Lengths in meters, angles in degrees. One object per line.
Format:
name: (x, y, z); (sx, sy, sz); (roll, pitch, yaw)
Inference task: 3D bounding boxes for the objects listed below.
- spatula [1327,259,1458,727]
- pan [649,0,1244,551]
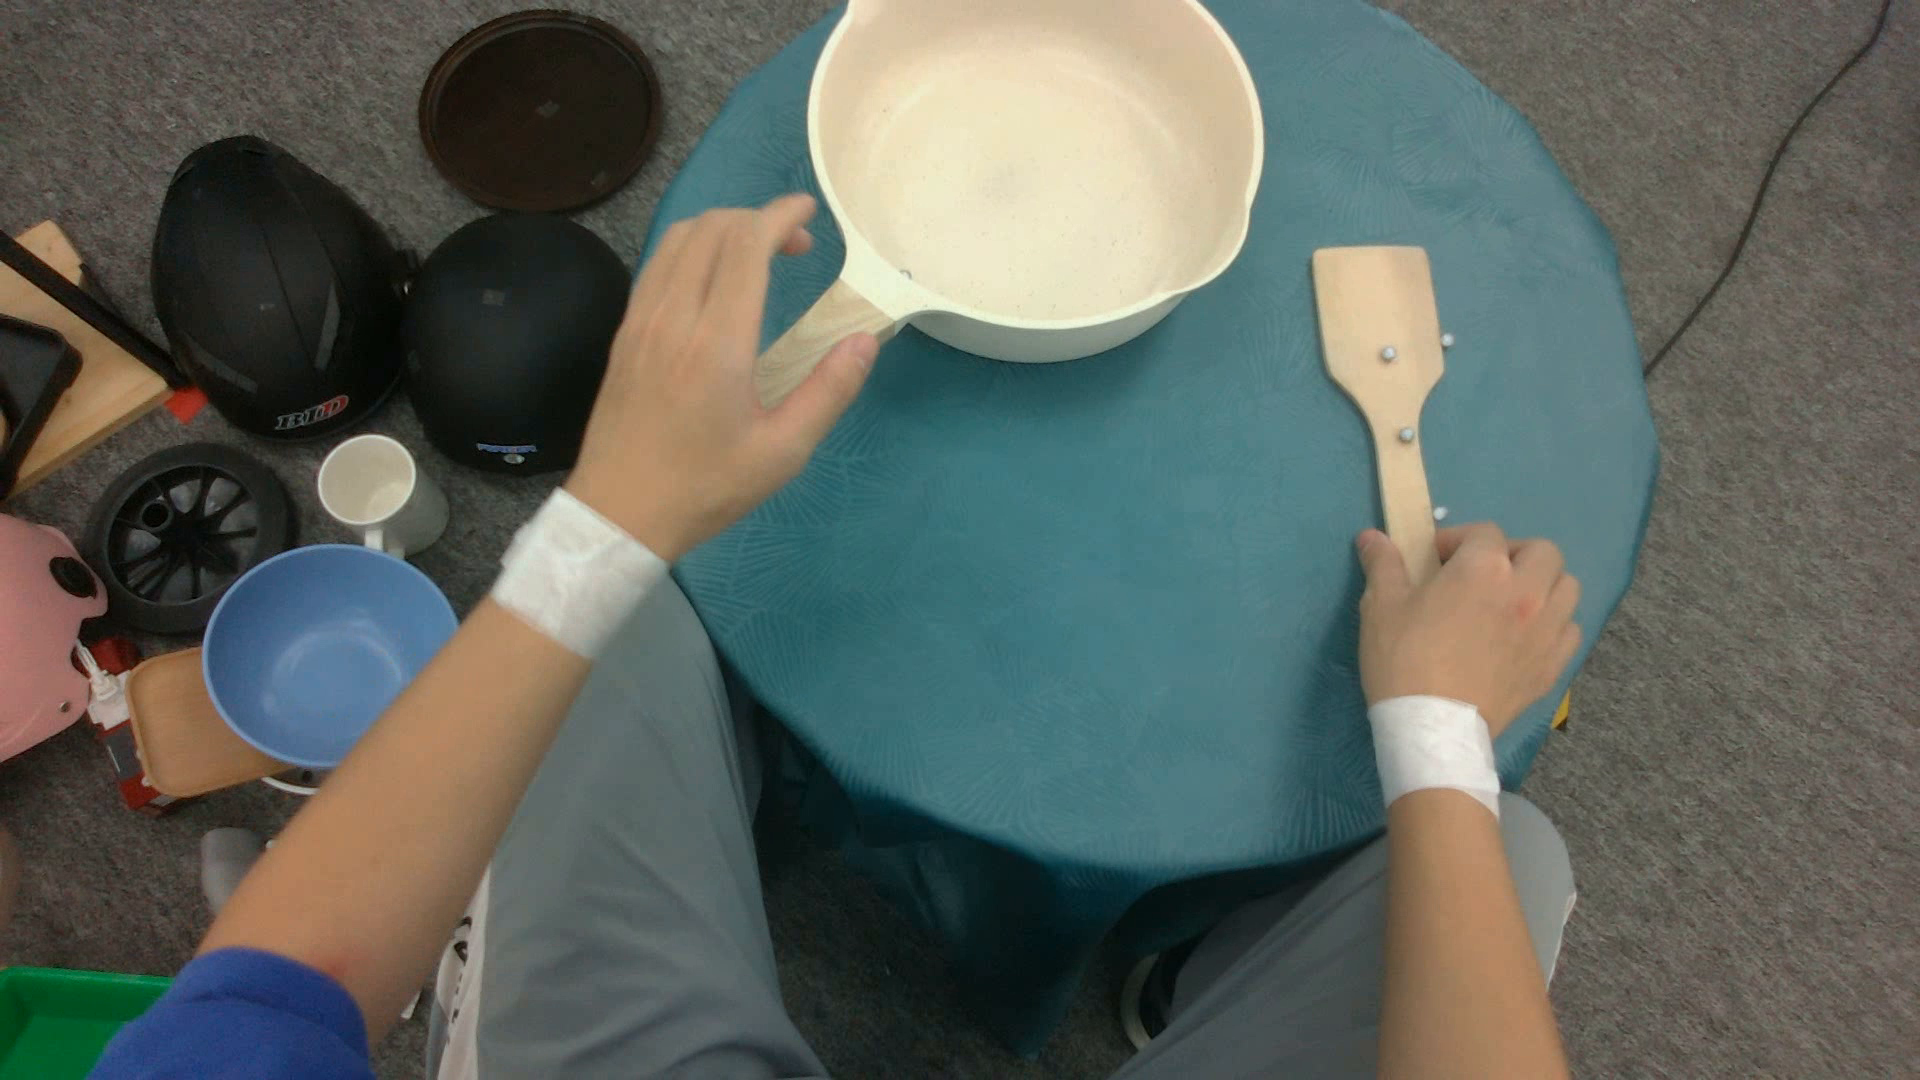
spatula: (0.258, -0.035, 0.791); (0.072, 0.010, 0.294); (2, 67, -2)
pan: (-0.021, -0.152, 0.779); (0.263, 0.101, 0.436); (37, 74, 8)
